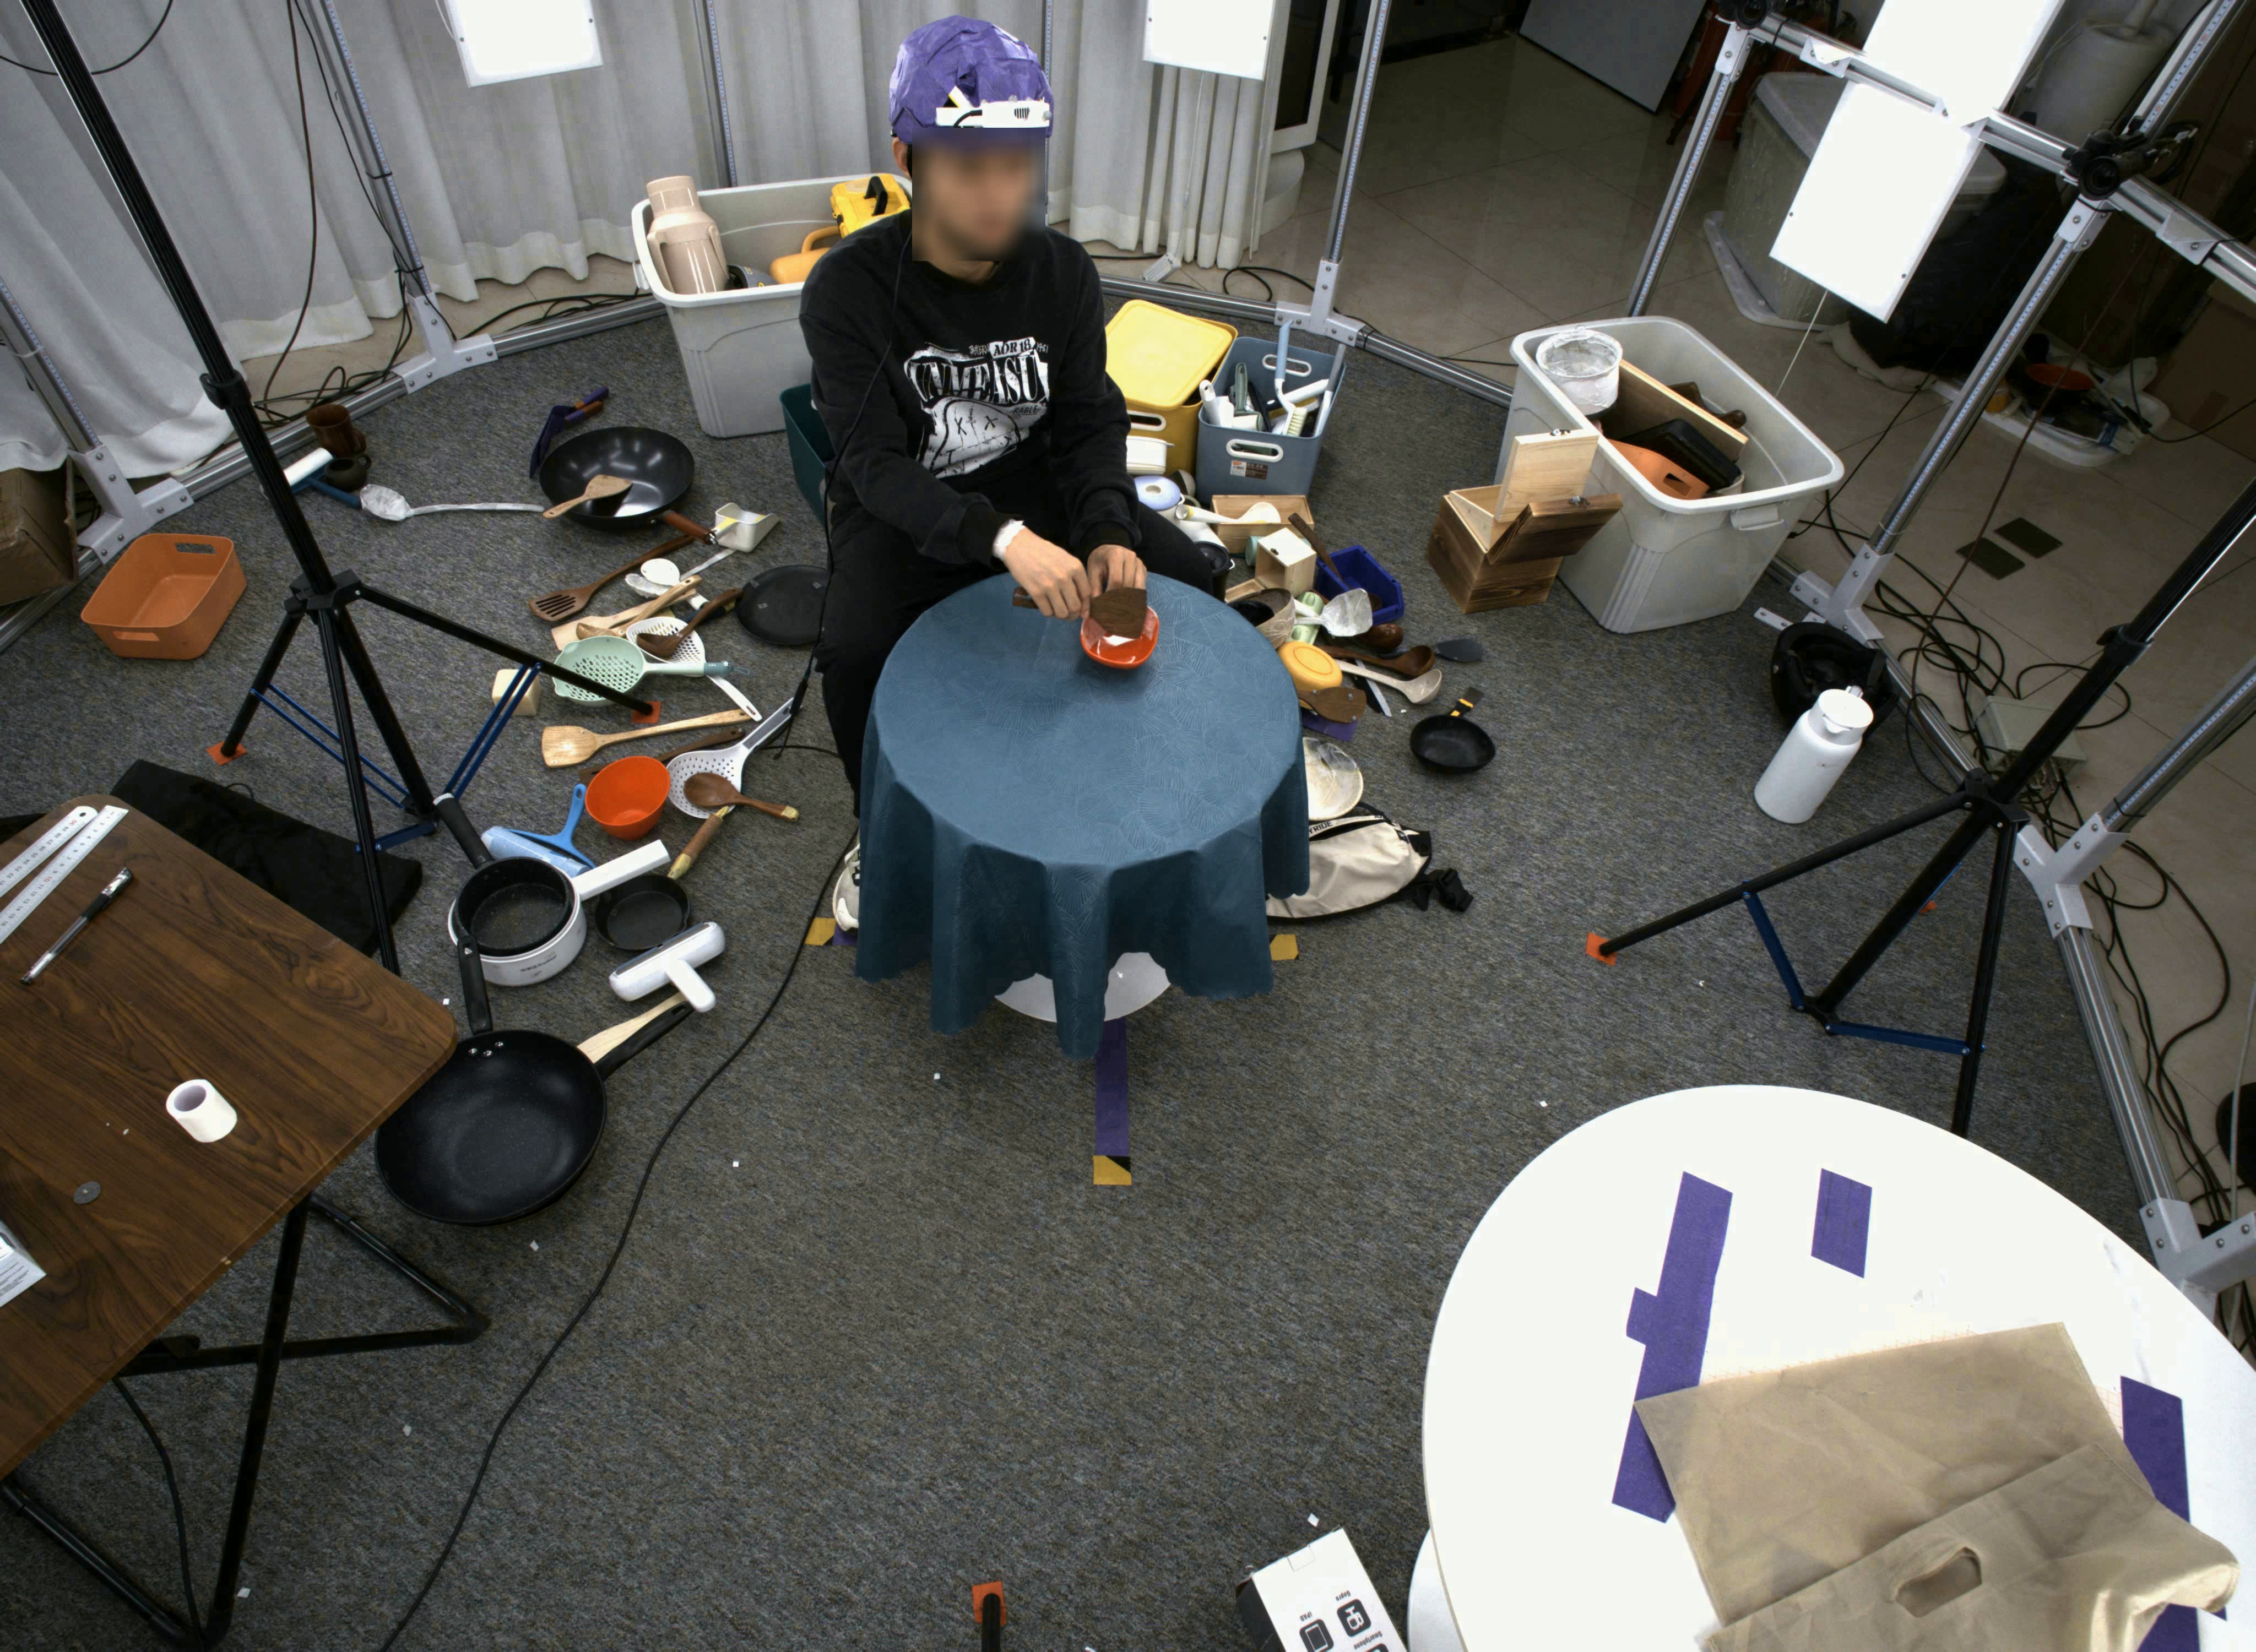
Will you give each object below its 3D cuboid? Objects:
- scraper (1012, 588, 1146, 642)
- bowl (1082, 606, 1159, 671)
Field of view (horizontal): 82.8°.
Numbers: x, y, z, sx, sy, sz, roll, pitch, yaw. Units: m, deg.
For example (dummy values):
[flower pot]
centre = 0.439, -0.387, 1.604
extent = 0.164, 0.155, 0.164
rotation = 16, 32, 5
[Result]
[scraper]
centre = -0.068, -0.308, 1.818
extent = 0.210, 0.075, 0.011
rotation = 3, 15, -31
[bowl]
centre = -0.012, -0.270, 1.878
extent = 0.119, 0.050, 0.121
rotation = 1, 65, -2
